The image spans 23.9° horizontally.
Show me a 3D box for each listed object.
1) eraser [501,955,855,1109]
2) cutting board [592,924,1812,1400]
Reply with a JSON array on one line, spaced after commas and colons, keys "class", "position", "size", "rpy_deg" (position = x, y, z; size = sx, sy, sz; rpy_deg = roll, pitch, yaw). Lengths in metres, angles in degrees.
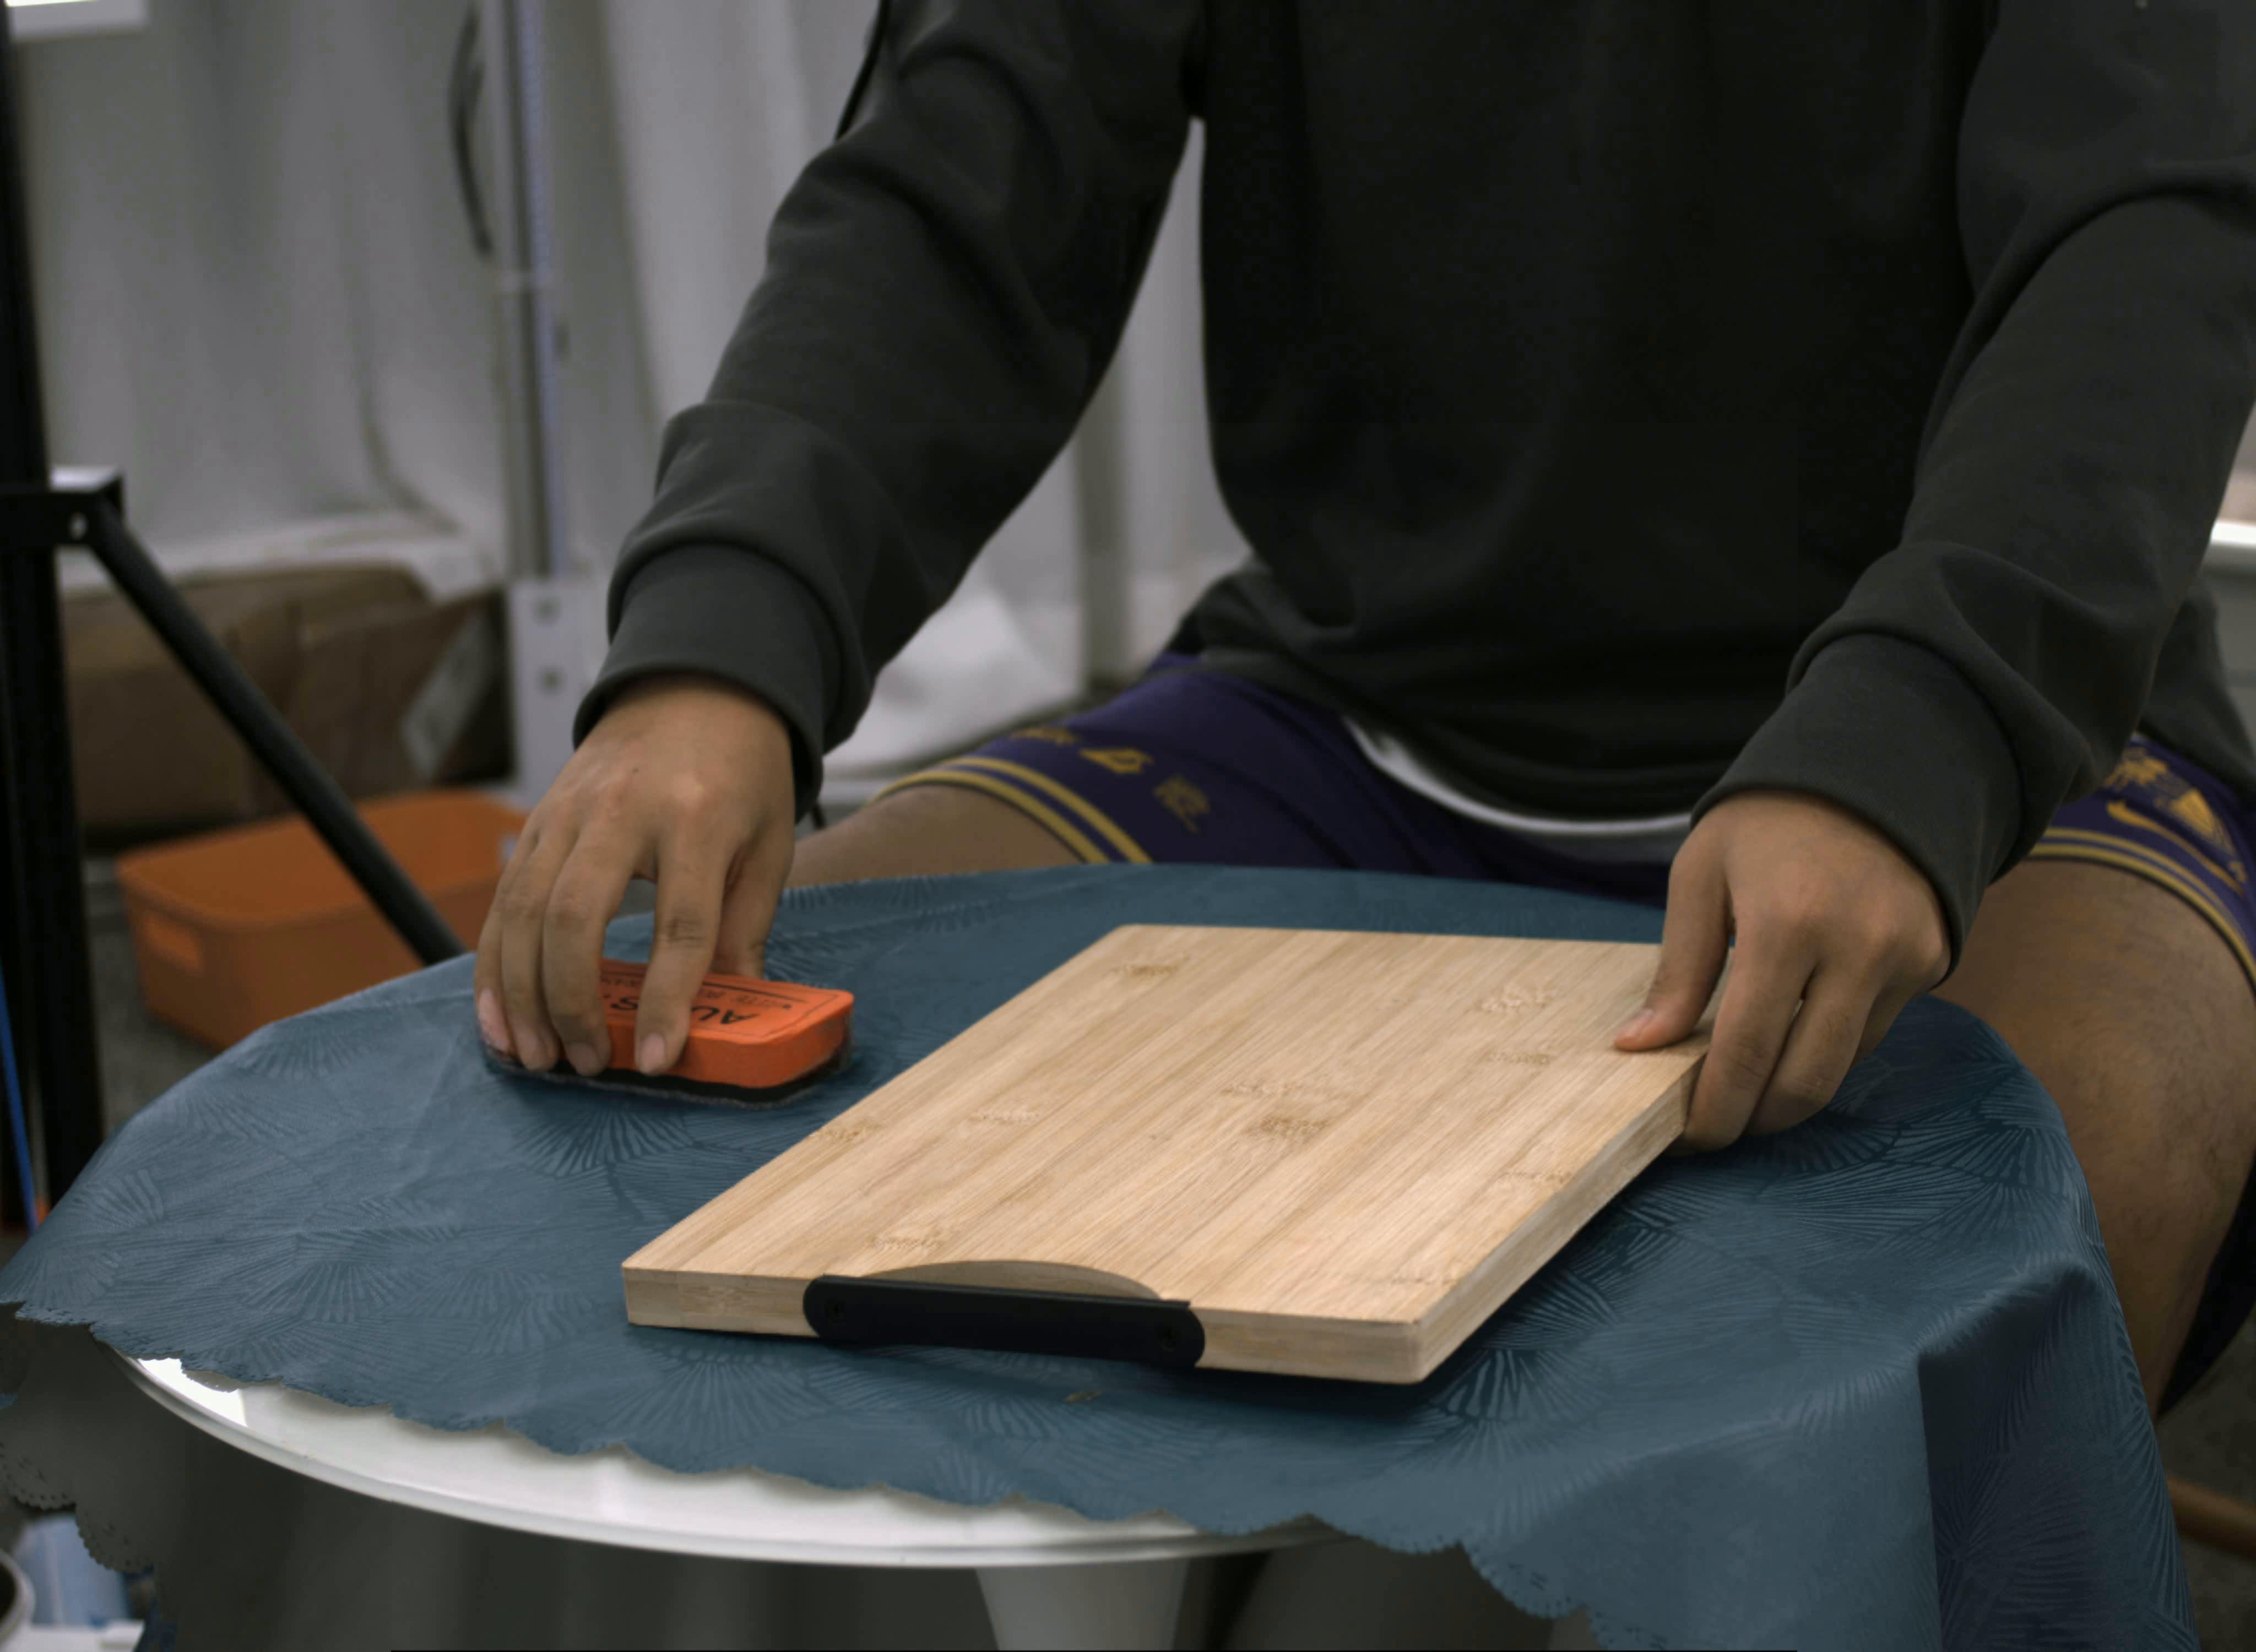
[{"class": "eraser", "position": [-0.142, 0.065, 1.693], "size": [0.110, 0.023, 0.058], "rpy_deg": [8, 18, 31]}, {"class": "cutting board", "position": [0.034, 0.091, 1.560], "size": [0.254, 0.023, 0.343], "rpy_deg": [1, 16, 25]}]
